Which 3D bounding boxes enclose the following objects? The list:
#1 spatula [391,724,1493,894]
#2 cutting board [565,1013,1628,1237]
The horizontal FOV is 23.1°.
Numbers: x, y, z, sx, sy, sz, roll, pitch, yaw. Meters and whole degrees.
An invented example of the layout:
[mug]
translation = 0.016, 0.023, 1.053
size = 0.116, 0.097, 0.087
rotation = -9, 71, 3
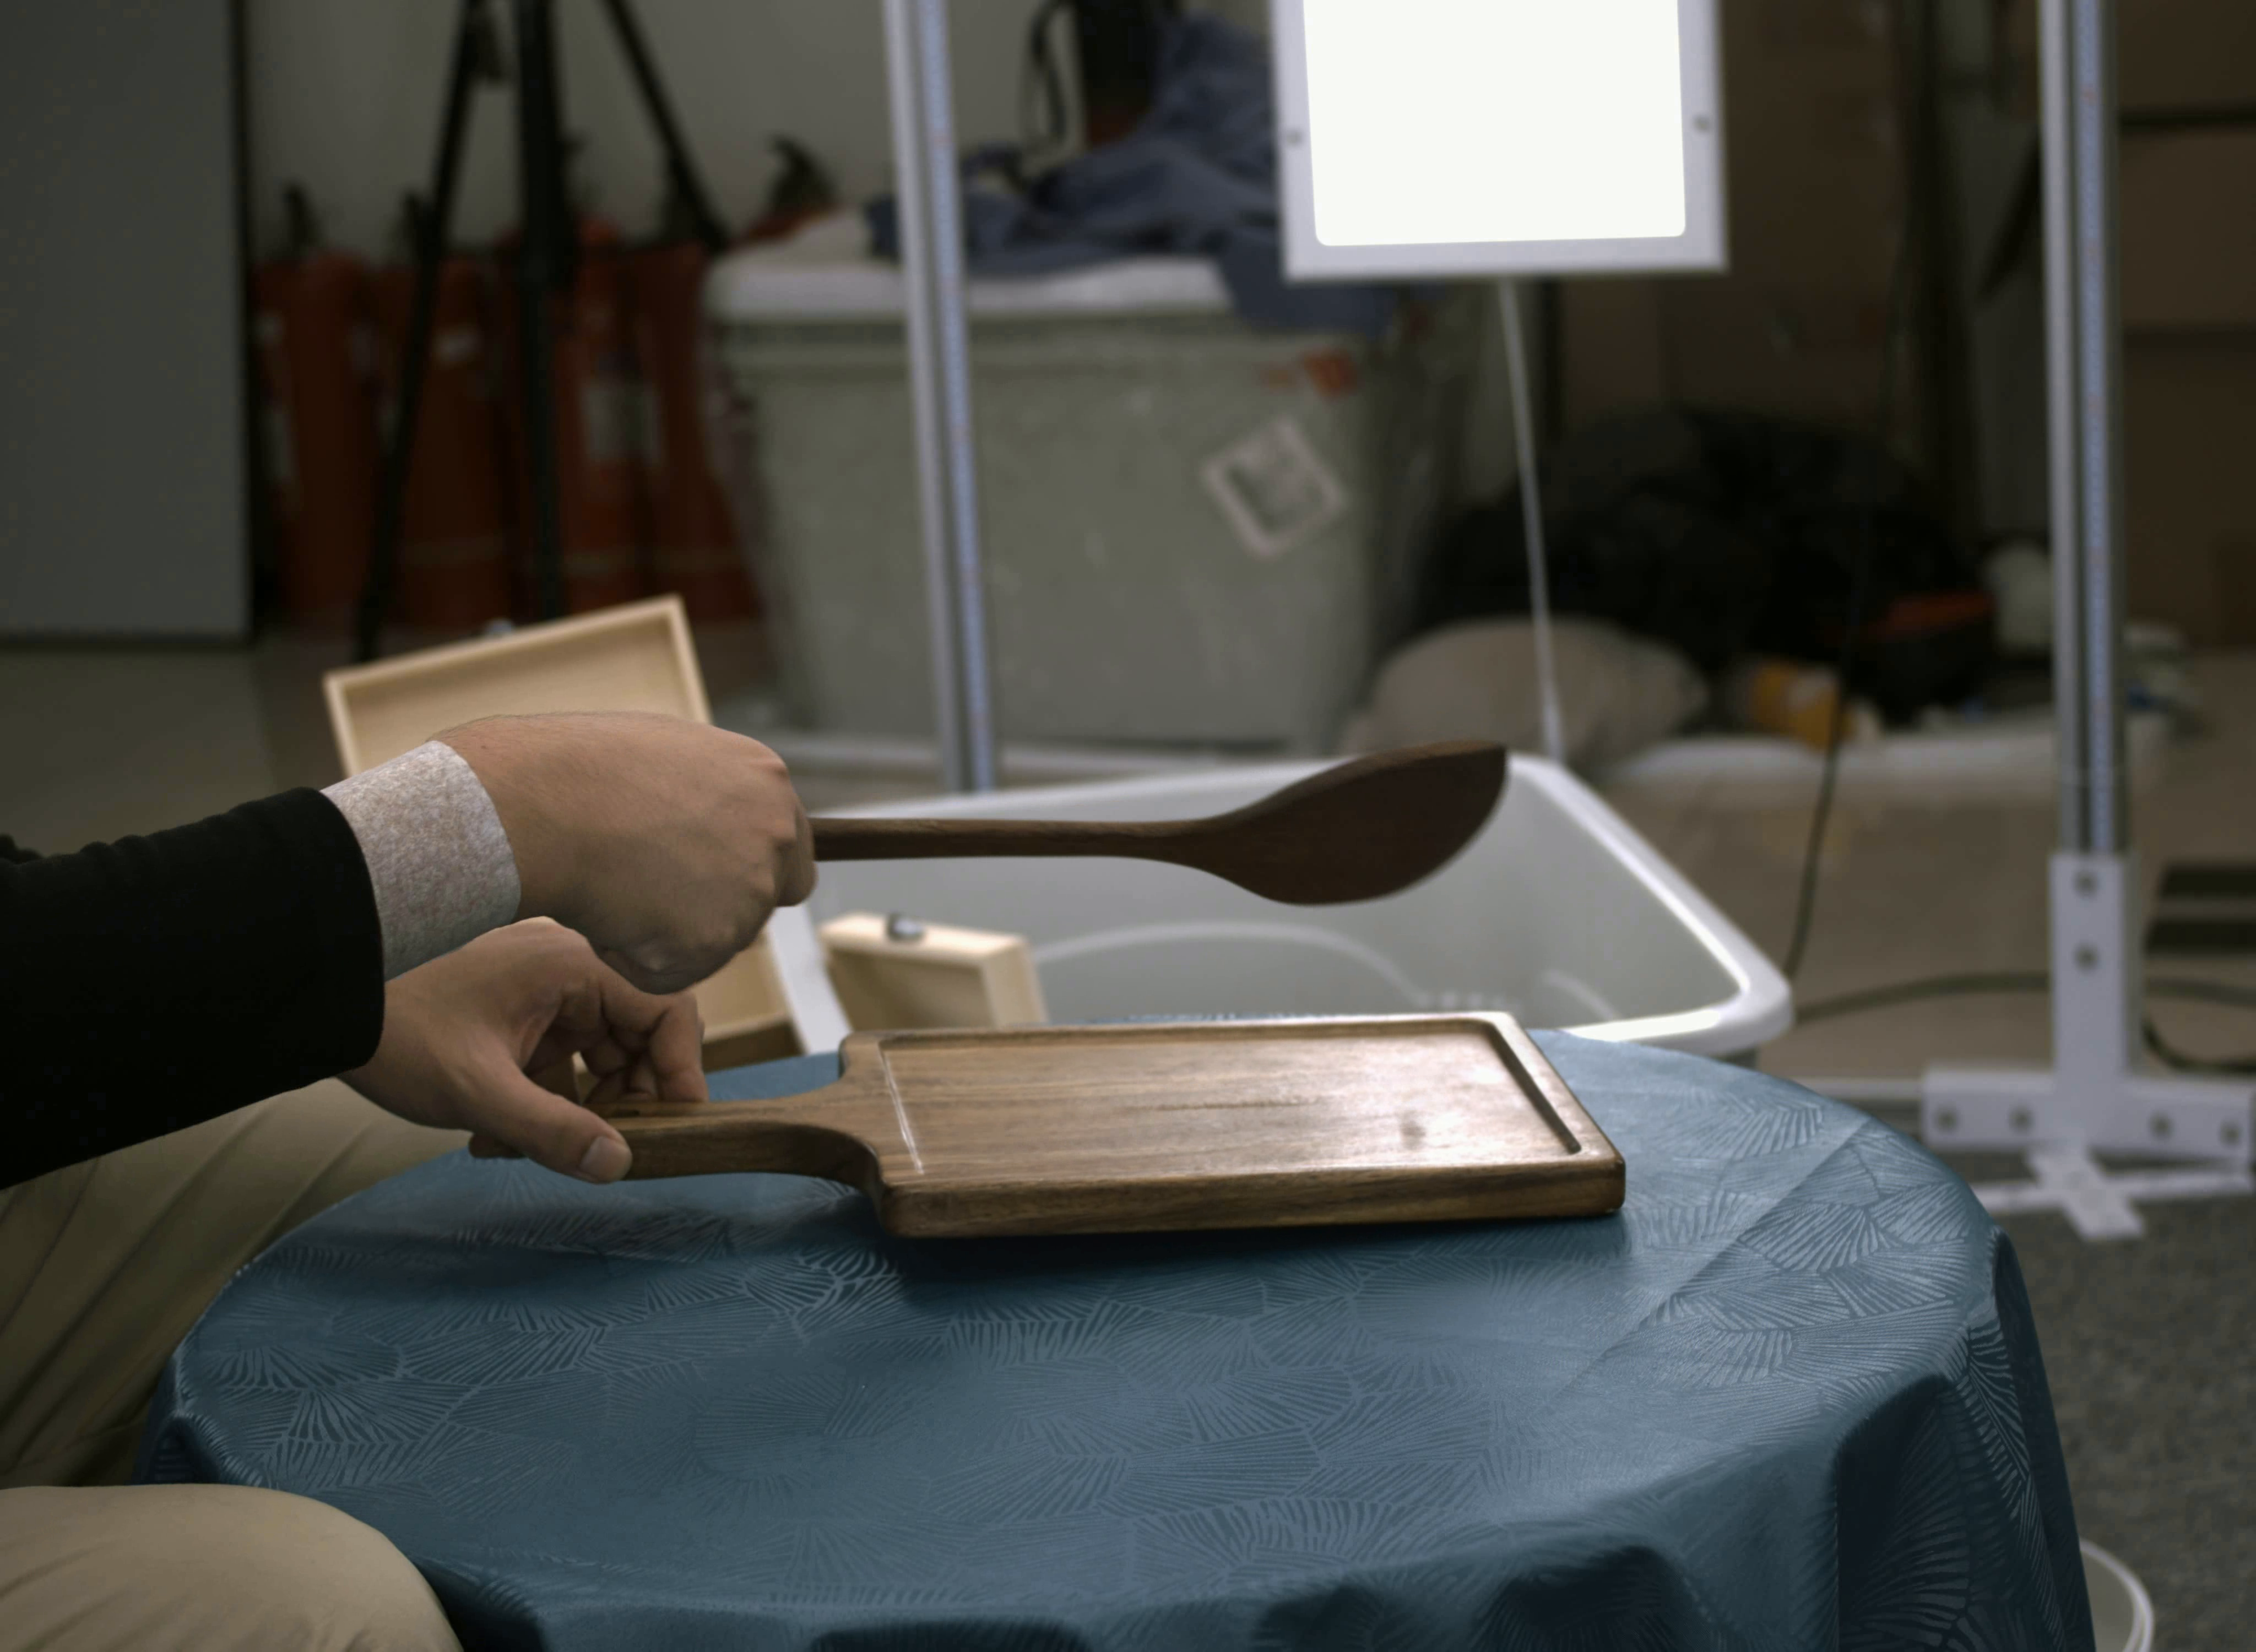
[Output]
[spatula]
translation = -0.057, 0.001, 1.827
size = 0.379, 0.016, 0.097
rotation = -2, -31, -20
[cutting board]
translation = -0.019, 0.103, 1.901
size = 0.349, 0.023, 0.201
rotation = -2, 13, -6
